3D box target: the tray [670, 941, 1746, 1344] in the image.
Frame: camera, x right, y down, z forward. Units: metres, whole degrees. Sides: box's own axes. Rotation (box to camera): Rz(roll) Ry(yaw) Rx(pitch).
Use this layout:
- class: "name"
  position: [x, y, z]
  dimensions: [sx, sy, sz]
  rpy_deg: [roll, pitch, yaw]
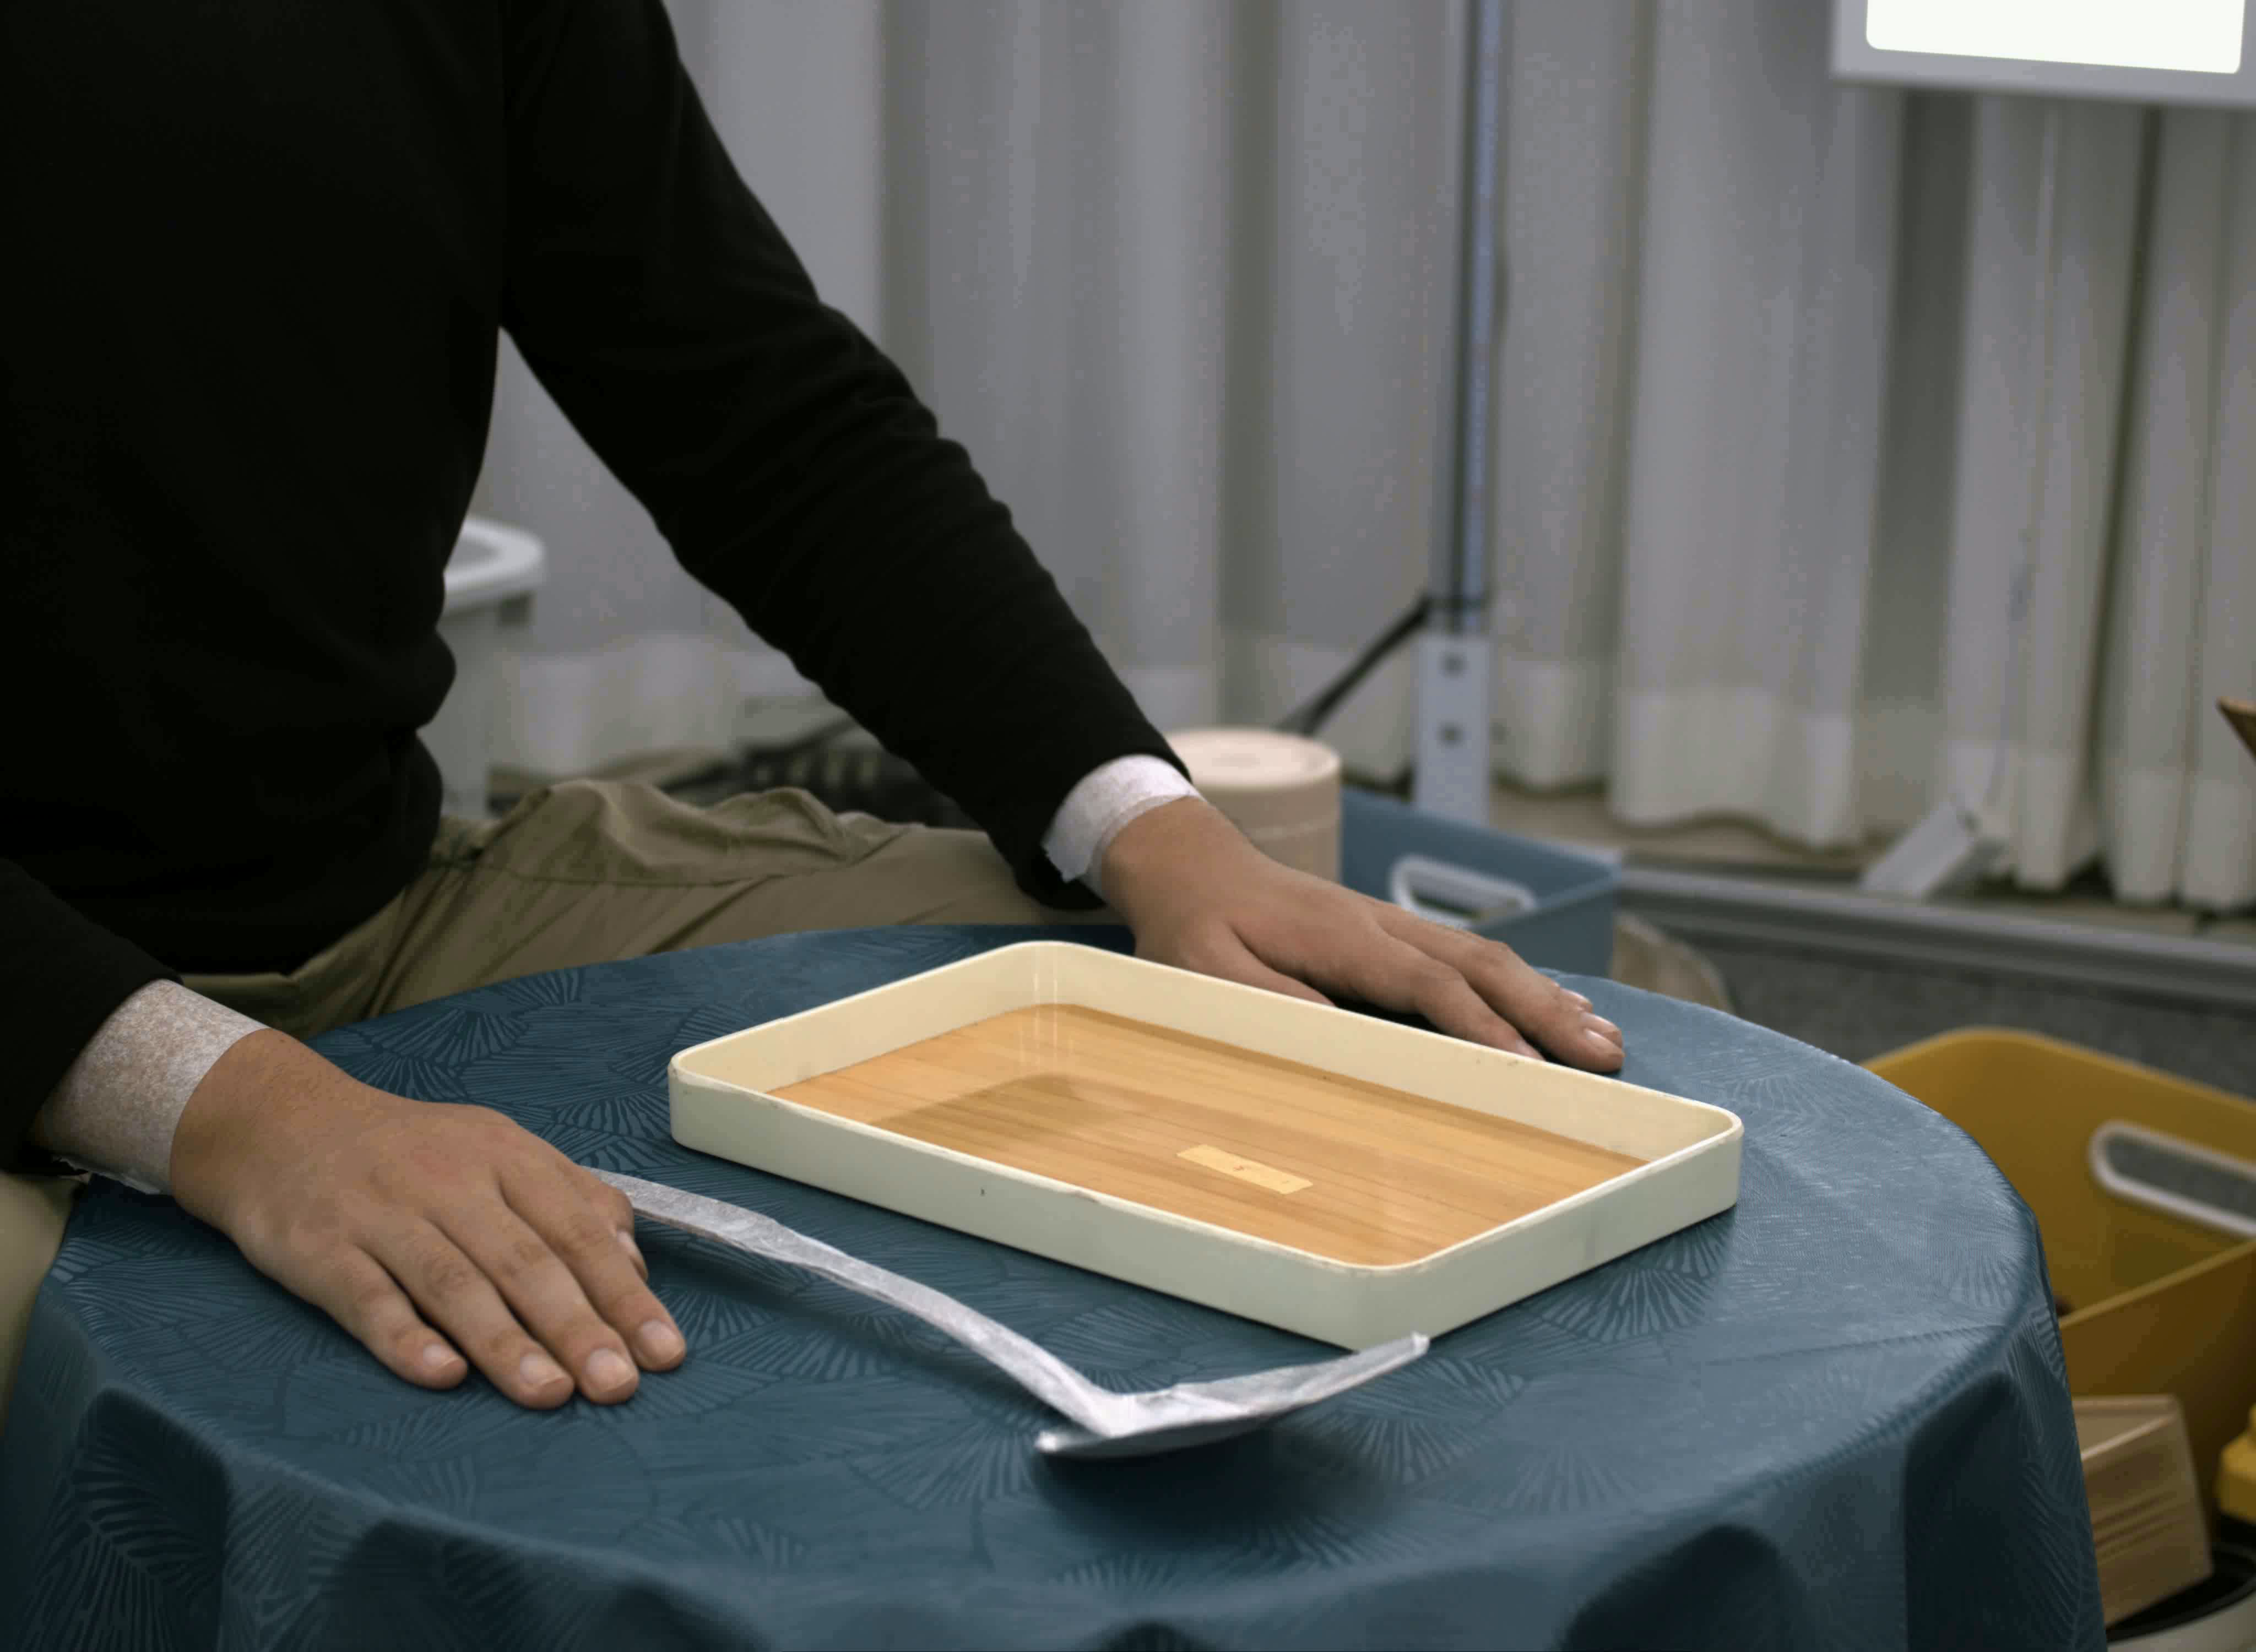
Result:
- class: "tray"
  position: [0.022, 0.094, 1.637]
  dimensions: [0.296, 0.027, 0.192]
  rpy_deg: [13, 20, 39]

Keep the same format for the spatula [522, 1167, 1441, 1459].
- class: "spatula"
  position: [-0.065, 0.127, 1.492]
  dimensions: [0.099, 0.045, 0.360]
  rpy_deg: [-15, 22, -42]
